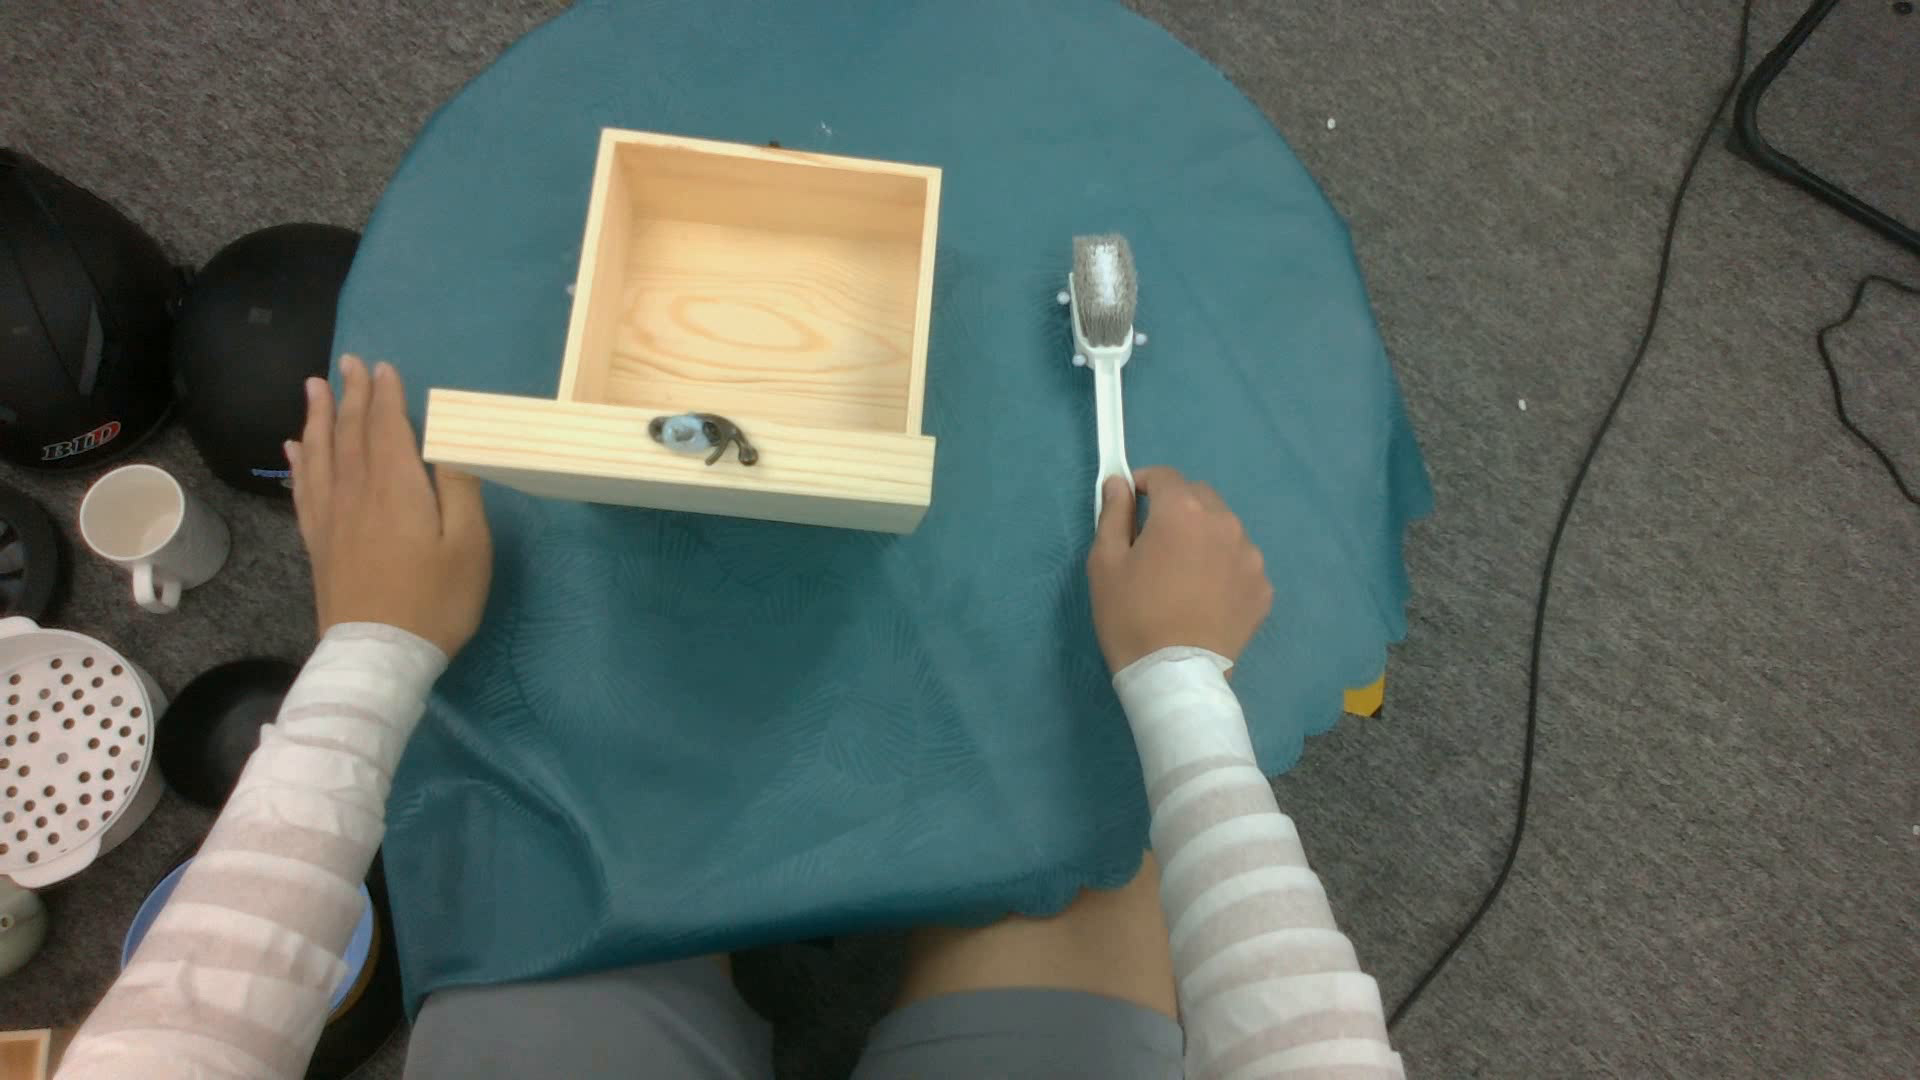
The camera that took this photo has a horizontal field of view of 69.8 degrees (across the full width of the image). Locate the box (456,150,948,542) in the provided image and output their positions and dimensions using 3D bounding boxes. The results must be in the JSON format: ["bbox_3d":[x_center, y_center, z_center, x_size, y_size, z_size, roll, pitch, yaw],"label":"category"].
[{"bbox_3d":[-0.102,-0.103,0.666,0.182,0.252,0.266,4,71,-5],"label":"box"}]

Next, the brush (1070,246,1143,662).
[{"bbox_3d":[0.085,-0.055,0.769,0.034,0.050,0.244,-1,70,-1],"label":"brush"}]
